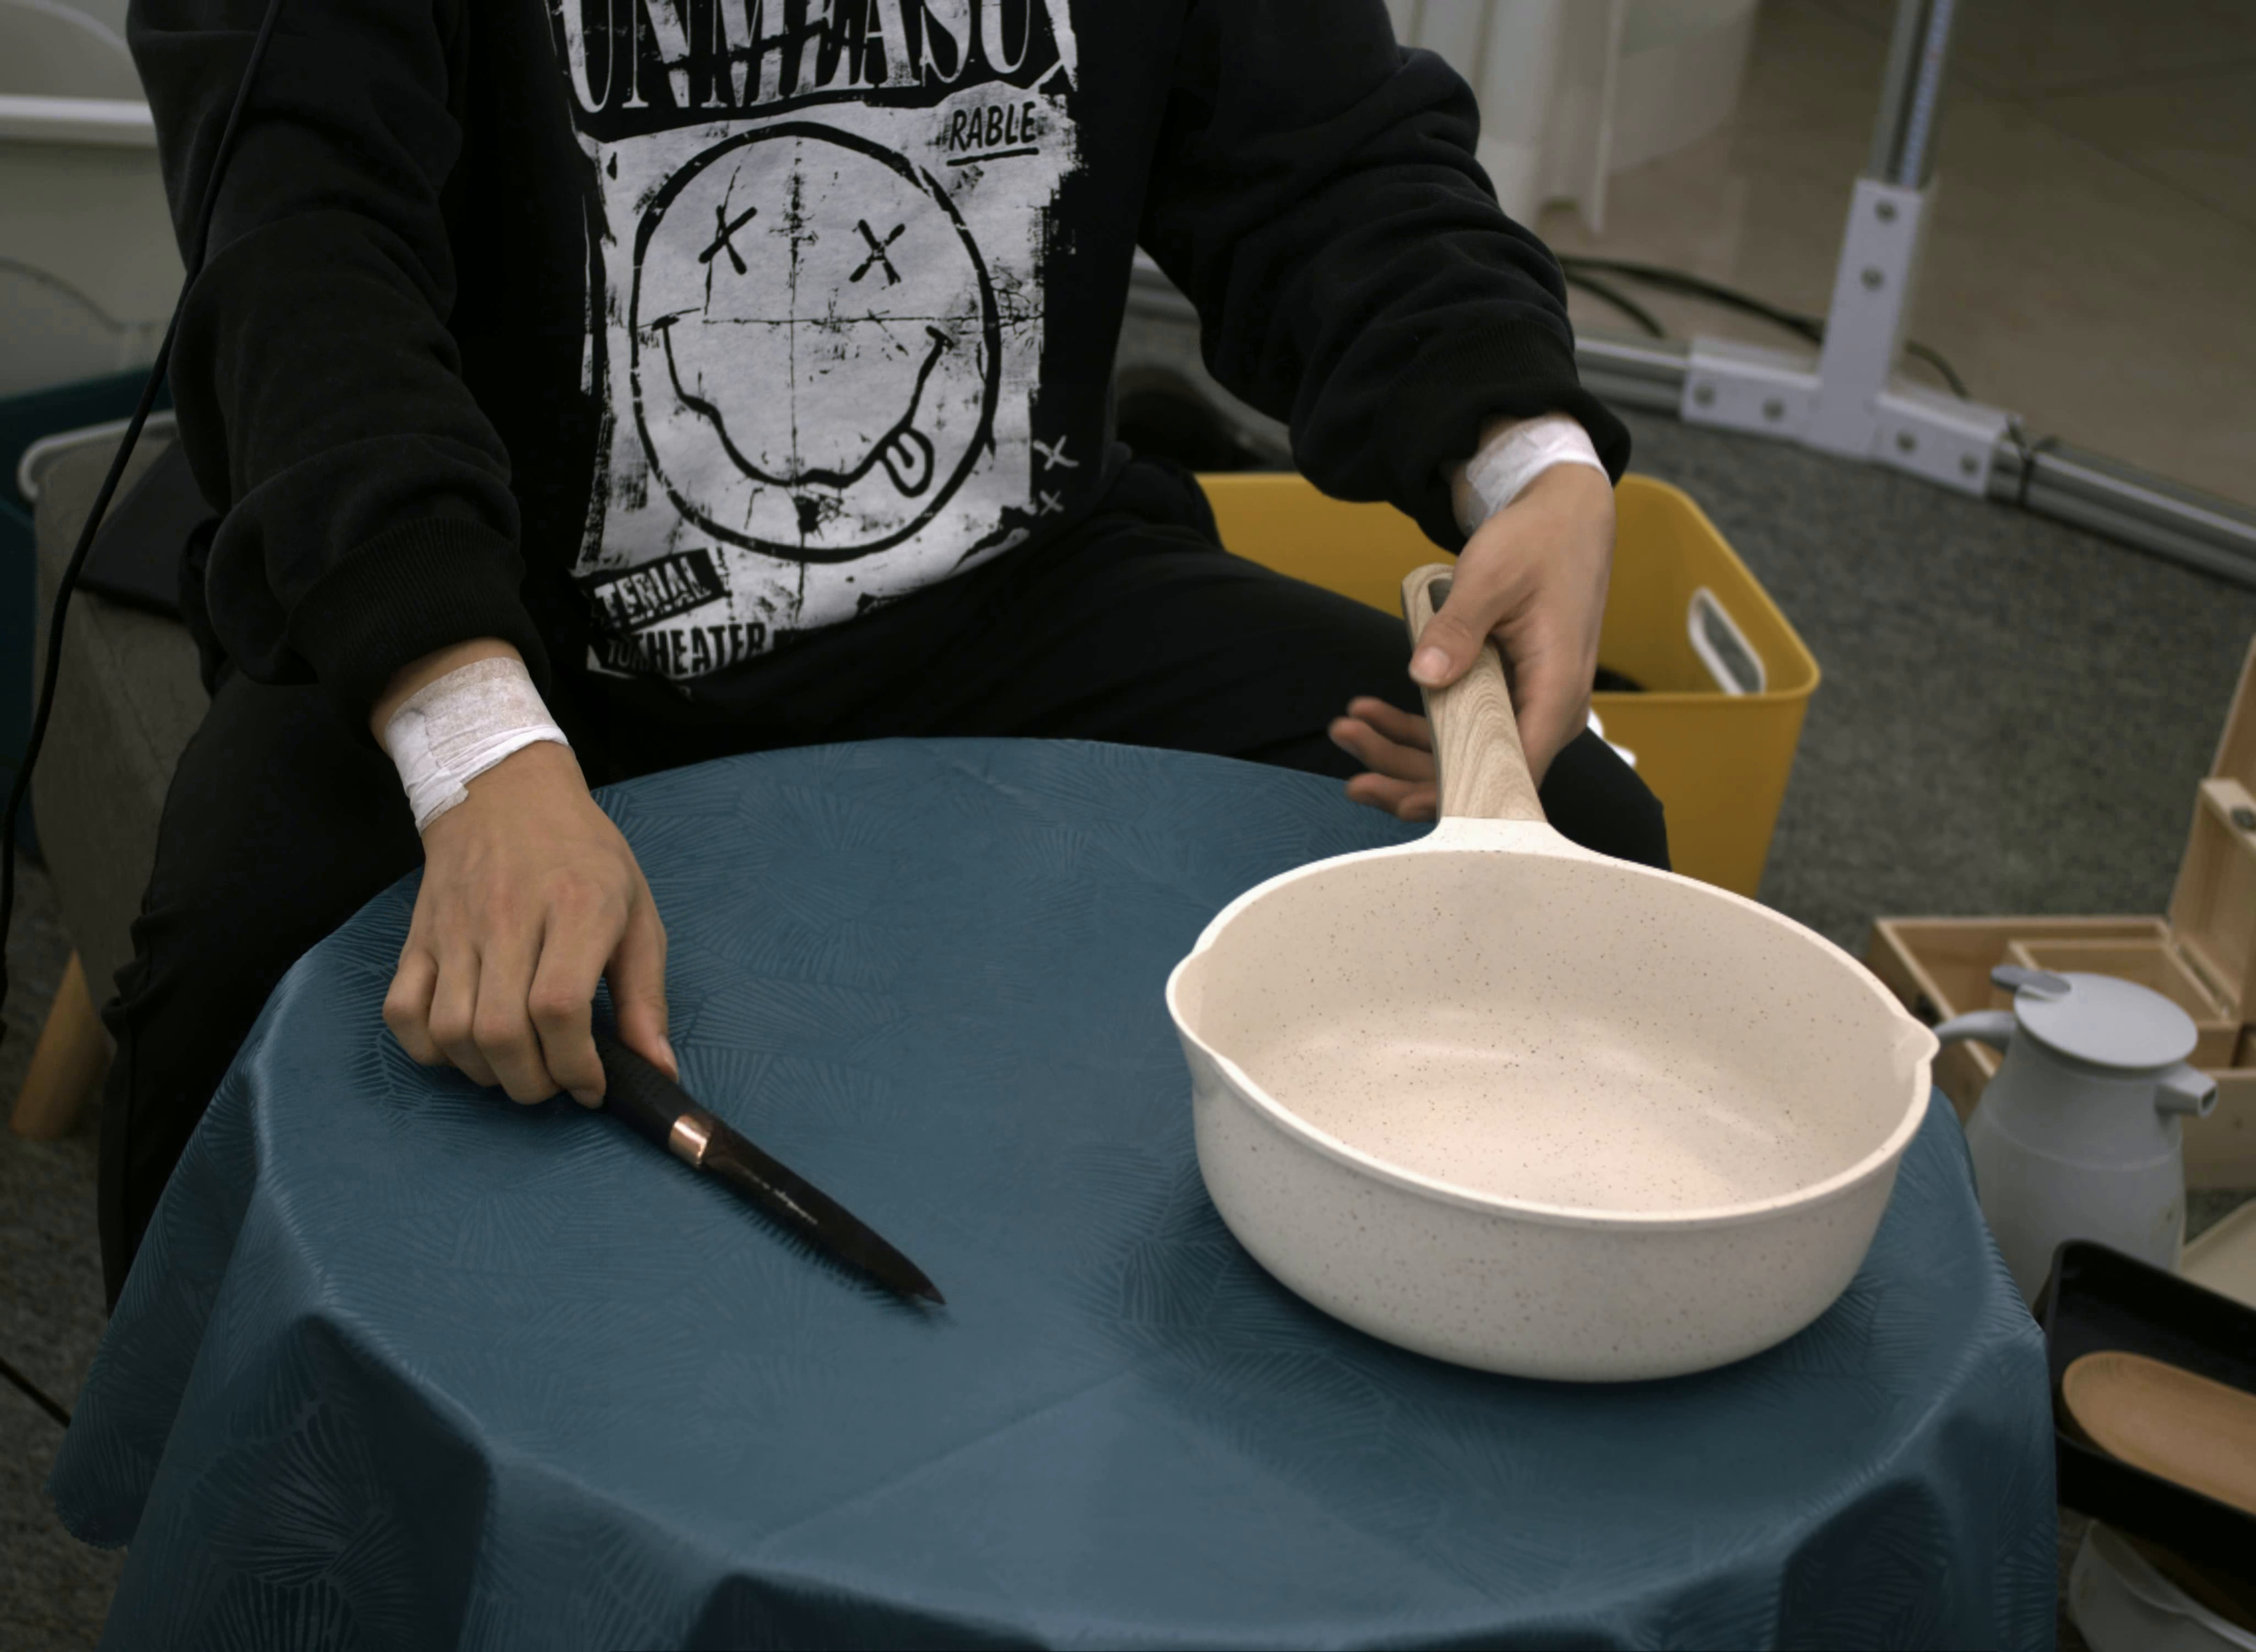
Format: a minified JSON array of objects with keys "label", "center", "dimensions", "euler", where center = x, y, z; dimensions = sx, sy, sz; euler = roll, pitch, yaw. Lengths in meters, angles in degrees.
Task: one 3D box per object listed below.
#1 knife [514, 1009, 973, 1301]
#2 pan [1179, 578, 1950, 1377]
[{"label":"knife","center":[-0.132,0.111,1.787],"dimensions":[0.026,0.017,0.227],"euler":[-8,28,-44]},{"label":"pan","center":[0.135,0.050,1.872],"dimensions":[0.262,0.101,0.438],"euler":[1,27,-7]}]
